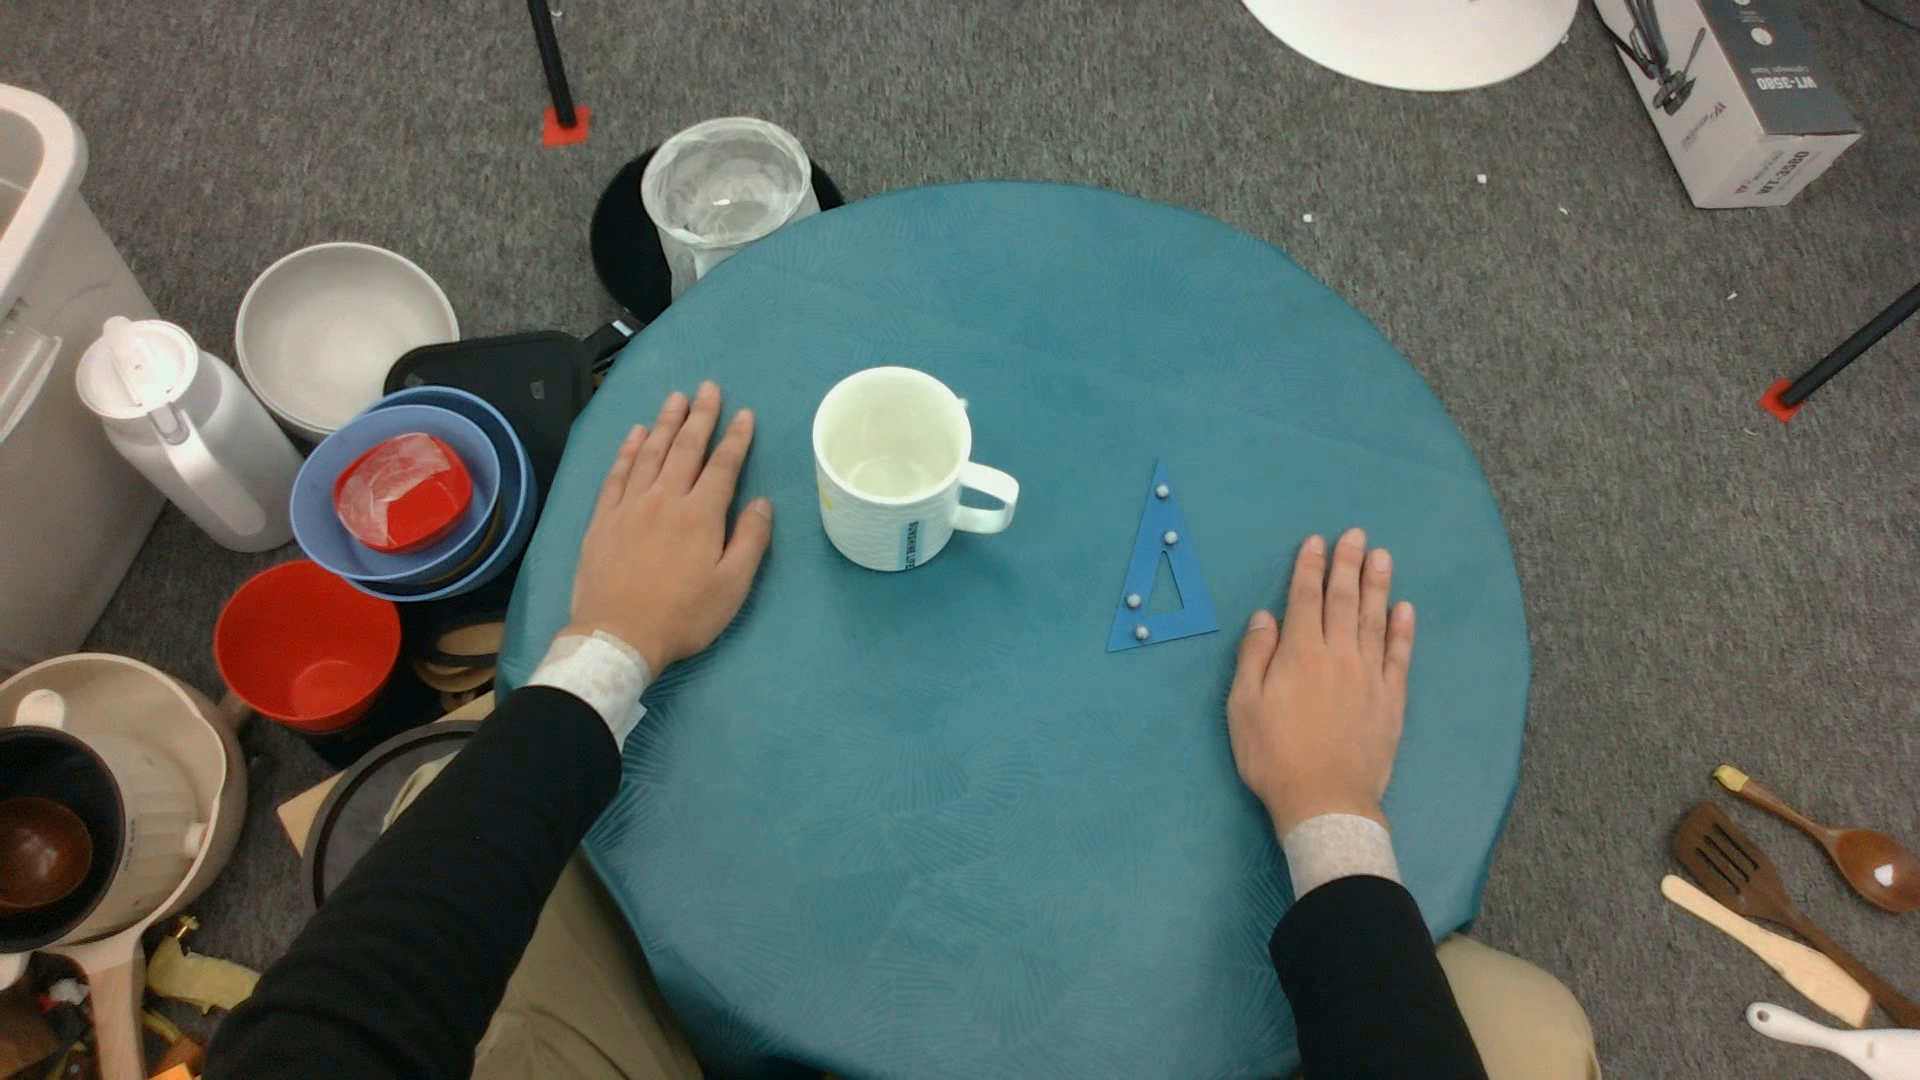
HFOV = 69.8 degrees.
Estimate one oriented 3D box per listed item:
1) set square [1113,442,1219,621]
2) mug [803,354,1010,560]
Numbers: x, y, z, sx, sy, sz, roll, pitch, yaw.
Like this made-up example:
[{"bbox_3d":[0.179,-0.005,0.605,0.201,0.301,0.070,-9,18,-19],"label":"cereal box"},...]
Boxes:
[{"bbox_3d":[0.139,0.000,0.840,0.061,0.006,0.132,20,66,6],"label":"set square"},{"bbox_3d":[-0.030,-0.040,0.790,0.118,0.101,0.085,18,65,4],"label":"mug"}]
